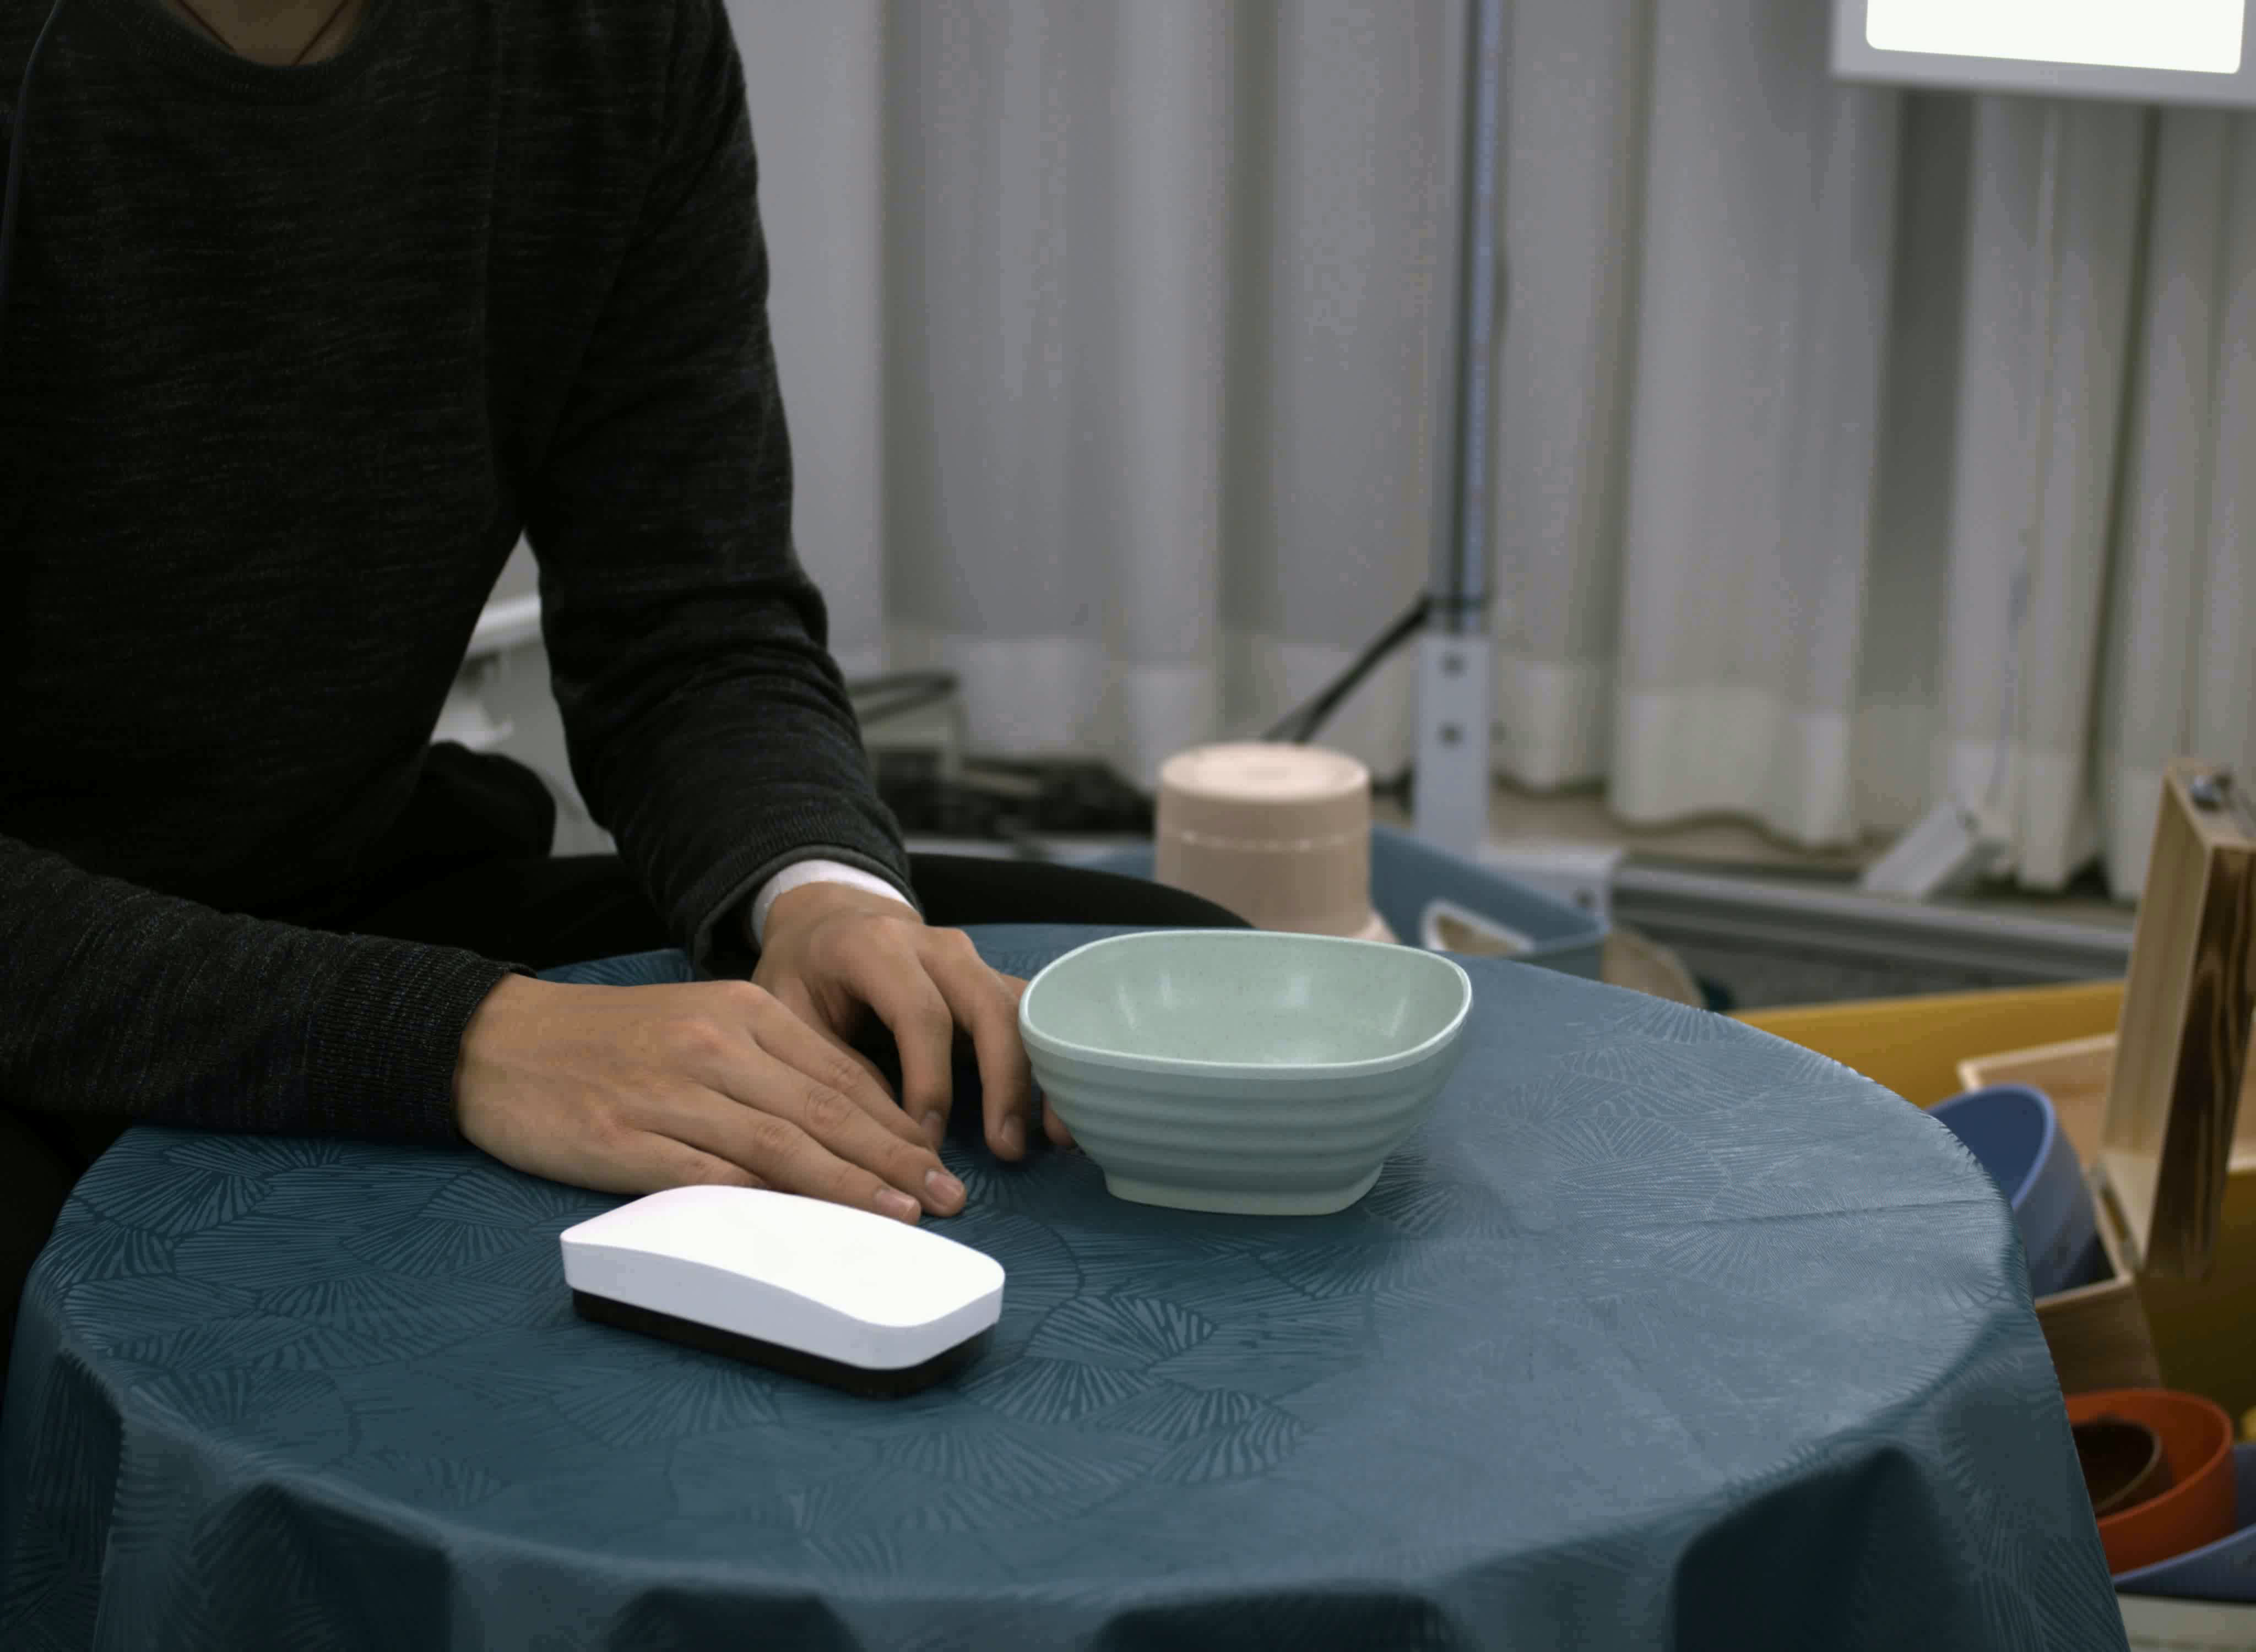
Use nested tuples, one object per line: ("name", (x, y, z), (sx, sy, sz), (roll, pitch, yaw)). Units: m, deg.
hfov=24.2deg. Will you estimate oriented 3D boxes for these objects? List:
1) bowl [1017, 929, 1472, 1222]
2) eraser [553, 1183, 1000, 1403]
("bowl", (0.036, 0.081, 1.634), (0.151, 0.059, 0.150), (2, 16, 0))
("eraser", (-0.100, 0.129, 1.498), (0.129, 0.035, 0.064), (13, 18, 33))
